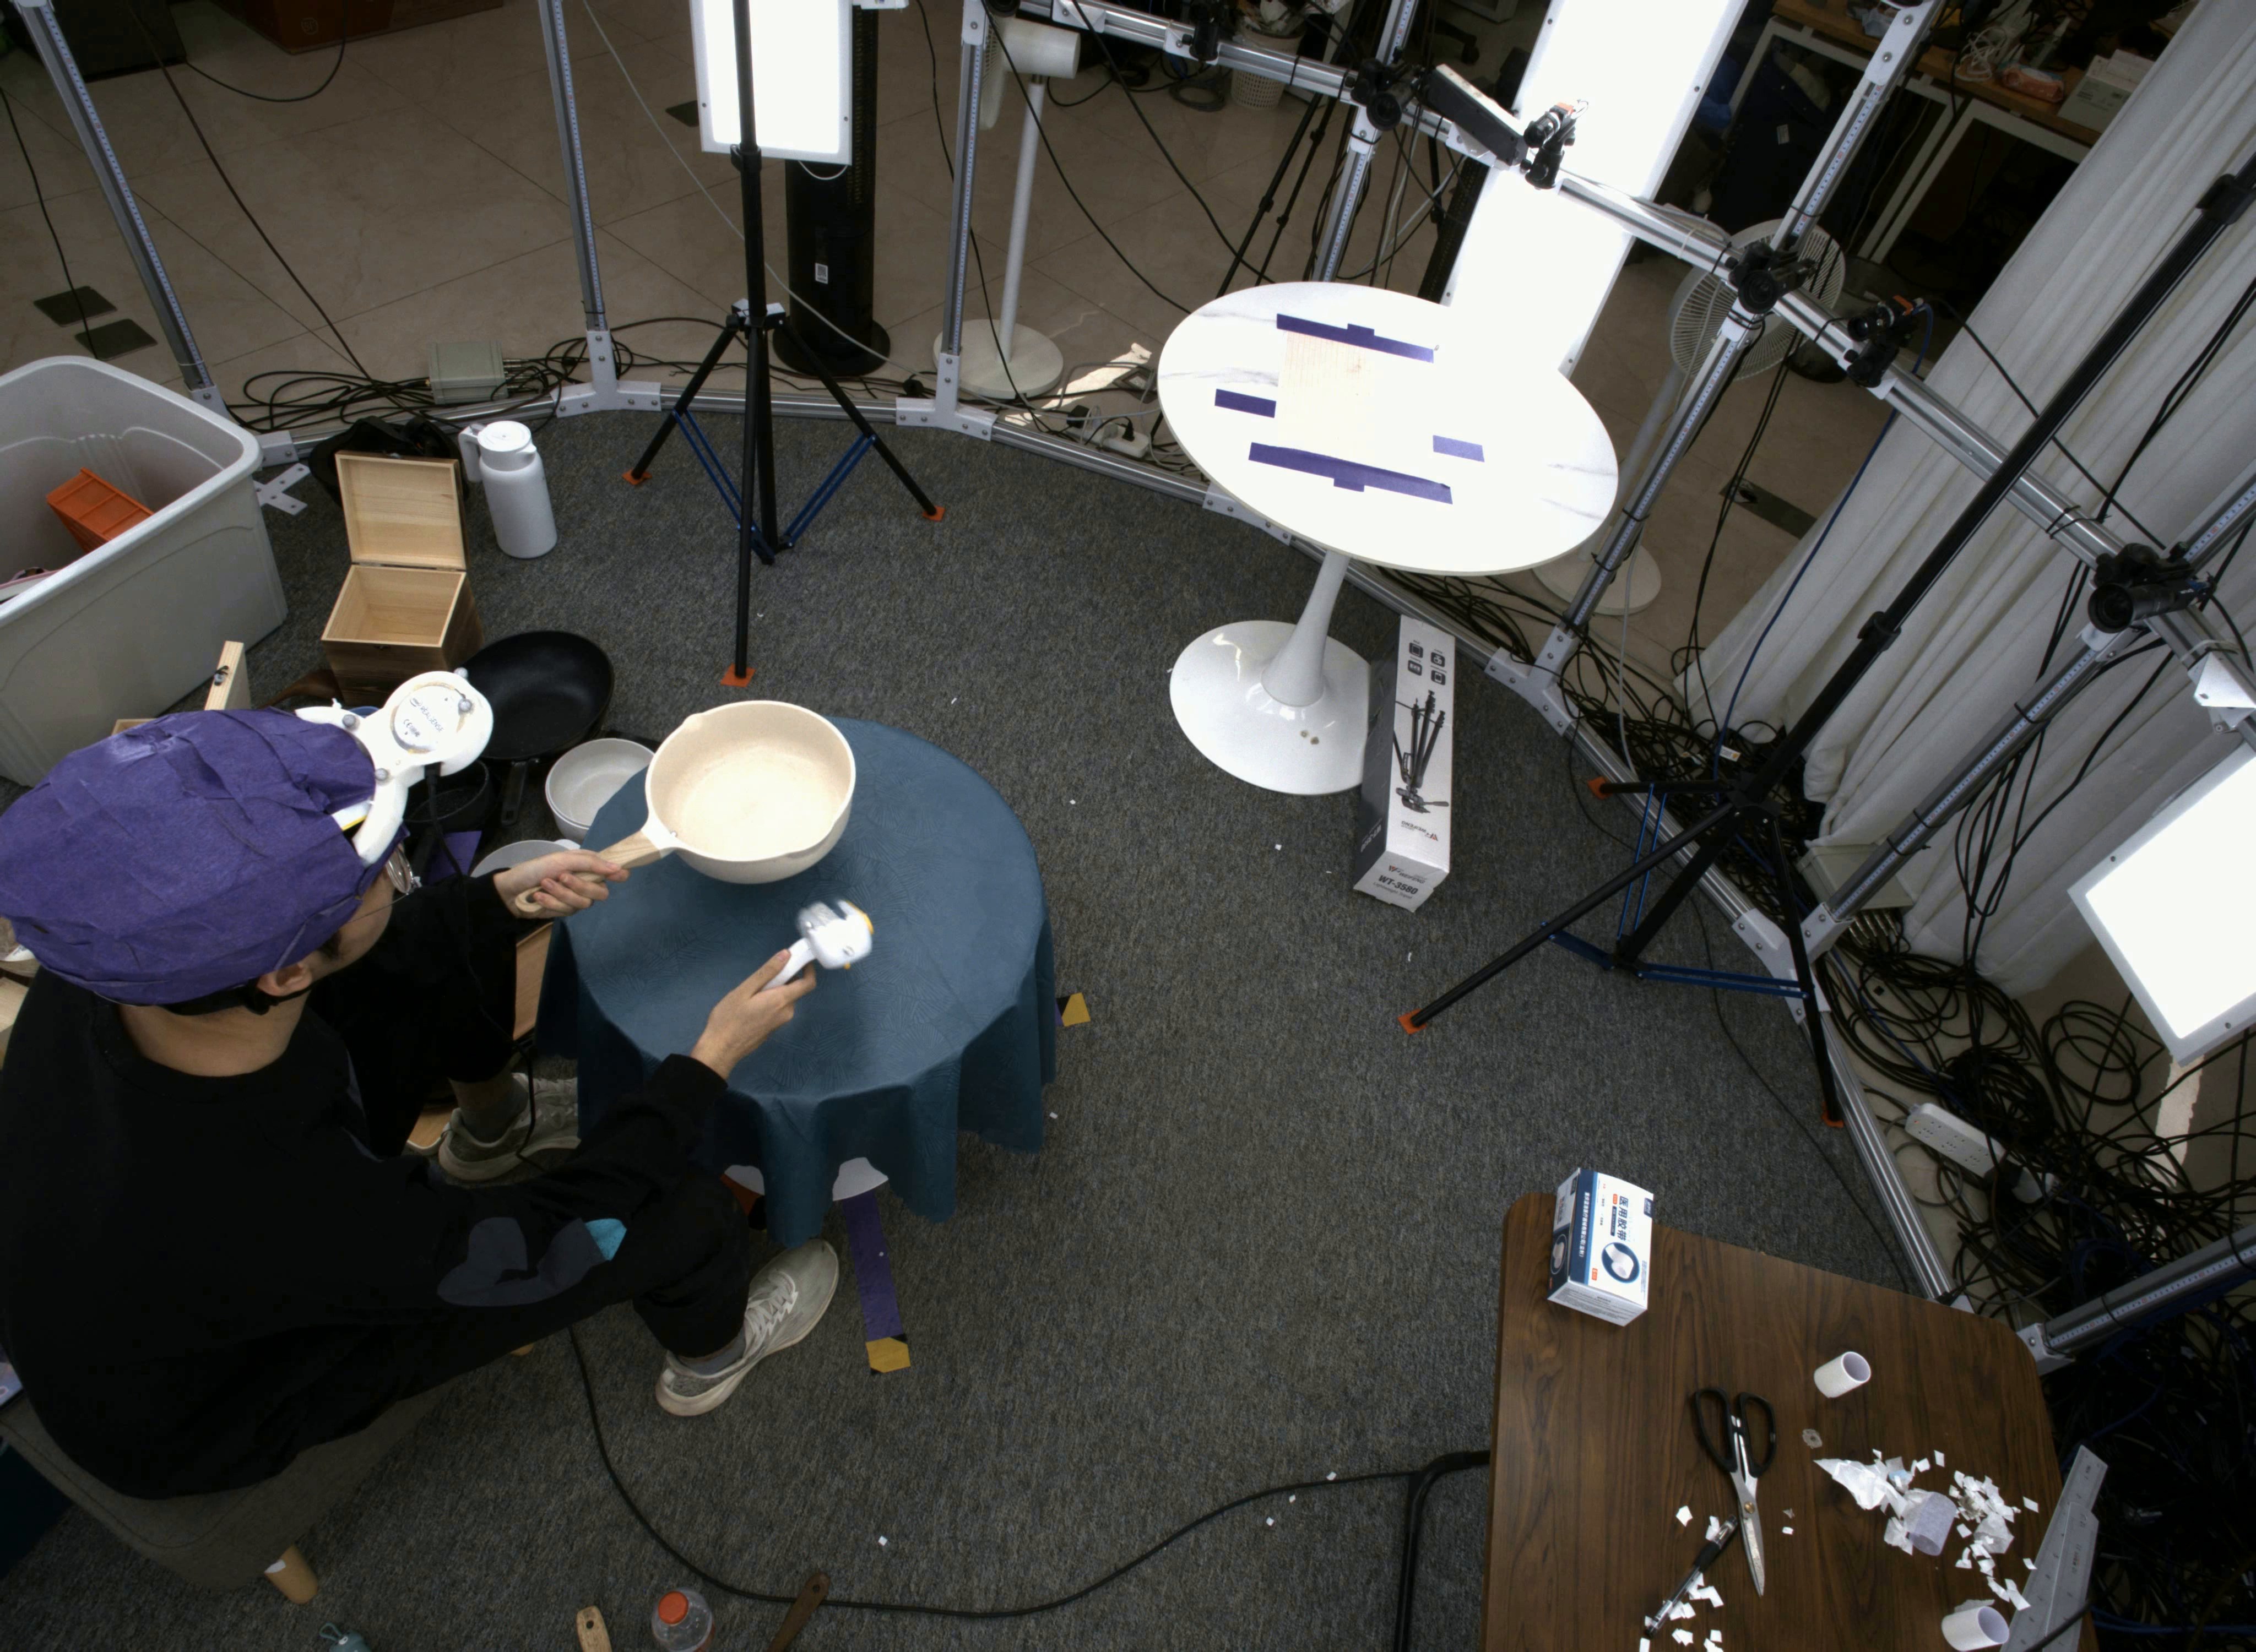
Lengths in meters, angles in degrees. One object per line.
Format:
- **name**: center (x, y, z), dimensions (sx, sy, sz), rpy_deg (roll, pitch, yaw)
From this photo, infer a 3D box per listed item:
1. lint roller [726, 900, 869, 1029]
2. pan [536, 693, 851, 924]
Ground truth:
- **lint roller**: center (-0.384, 0.155, 1.483), dimensions (0.192, 0.189, 0.076), rpy_deg (-31, 103, -11)
- **pan**: center (-0.529, 0.003, 1.550), dimensions (0.257, 0.104, 0.435), rpy_deg (41, 59, 19)
